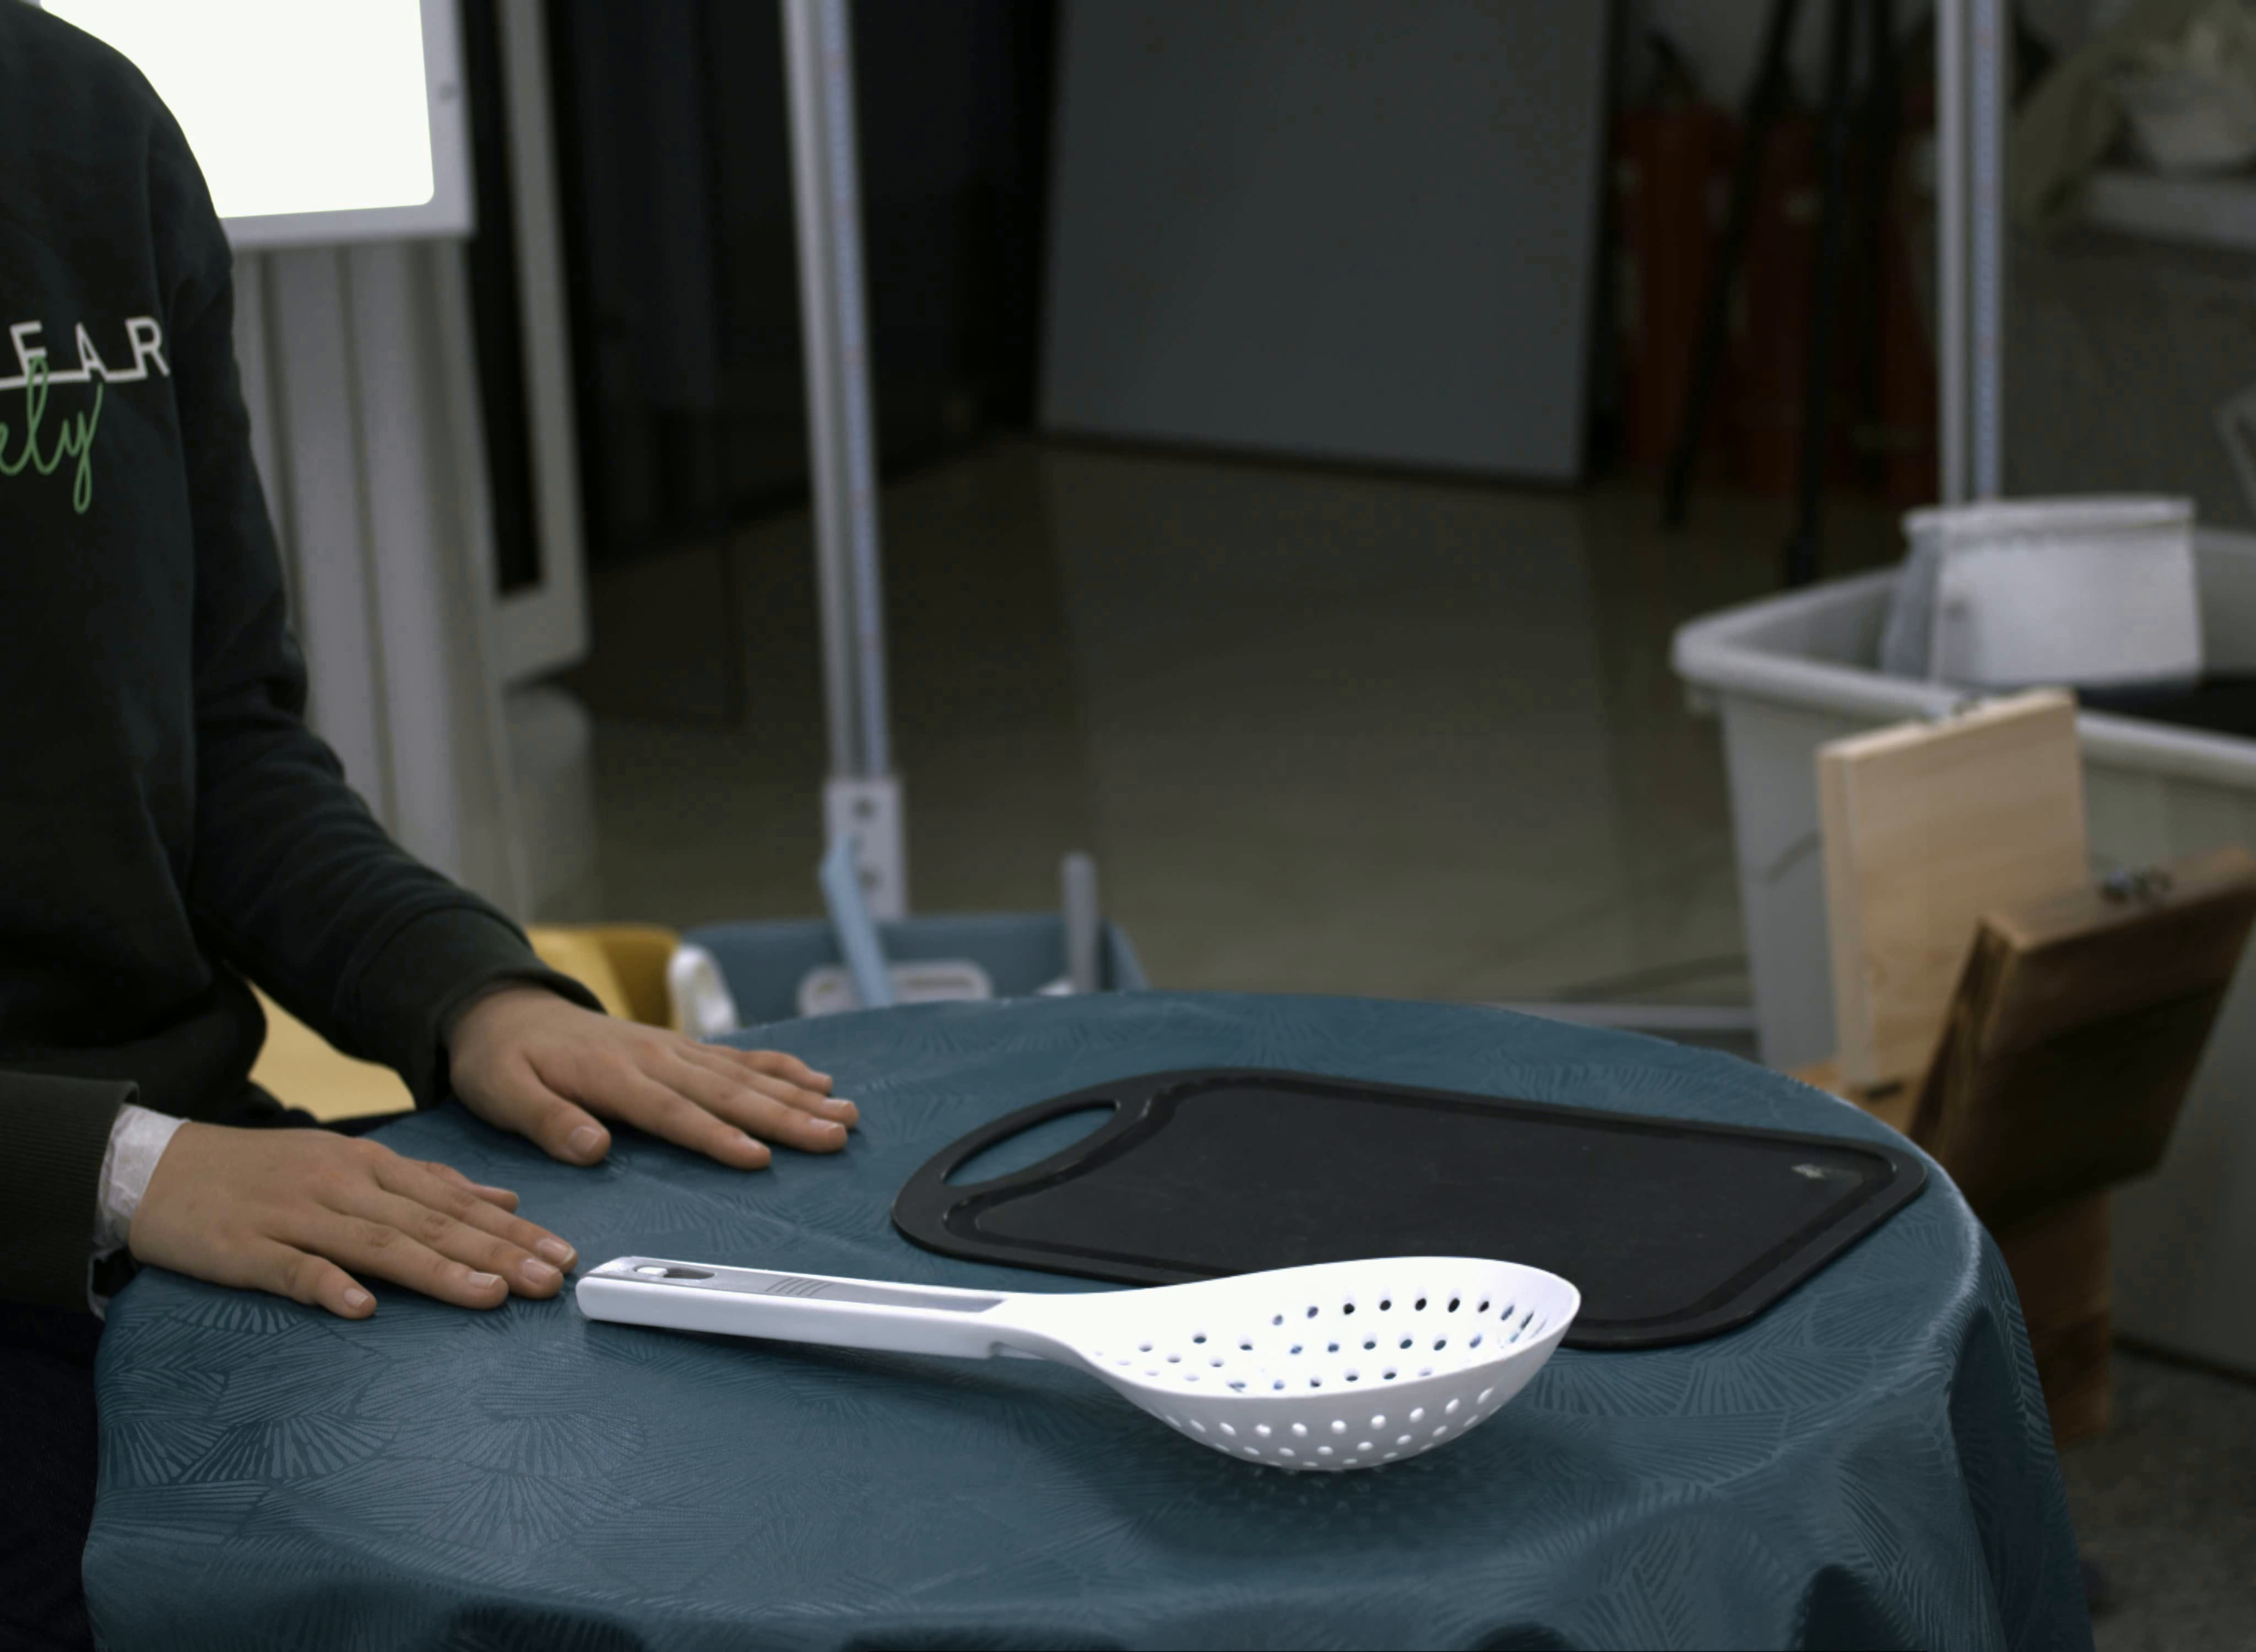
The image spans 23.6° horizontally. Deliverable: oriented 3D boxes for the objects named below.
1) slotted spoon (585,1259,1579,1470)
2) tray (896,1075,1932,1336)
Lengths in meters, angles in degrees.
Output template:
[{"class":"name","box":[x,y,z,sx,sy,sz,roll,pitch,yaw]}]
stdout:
[{"class":"slotted spoon","box":[-0.025,0.147,1.580,0.352,0.046,0.133,5,14,37]},{"class":"tray","box":[0.084,0.118,1.744,0.327,0.010,0.207,5,16,33]}]
